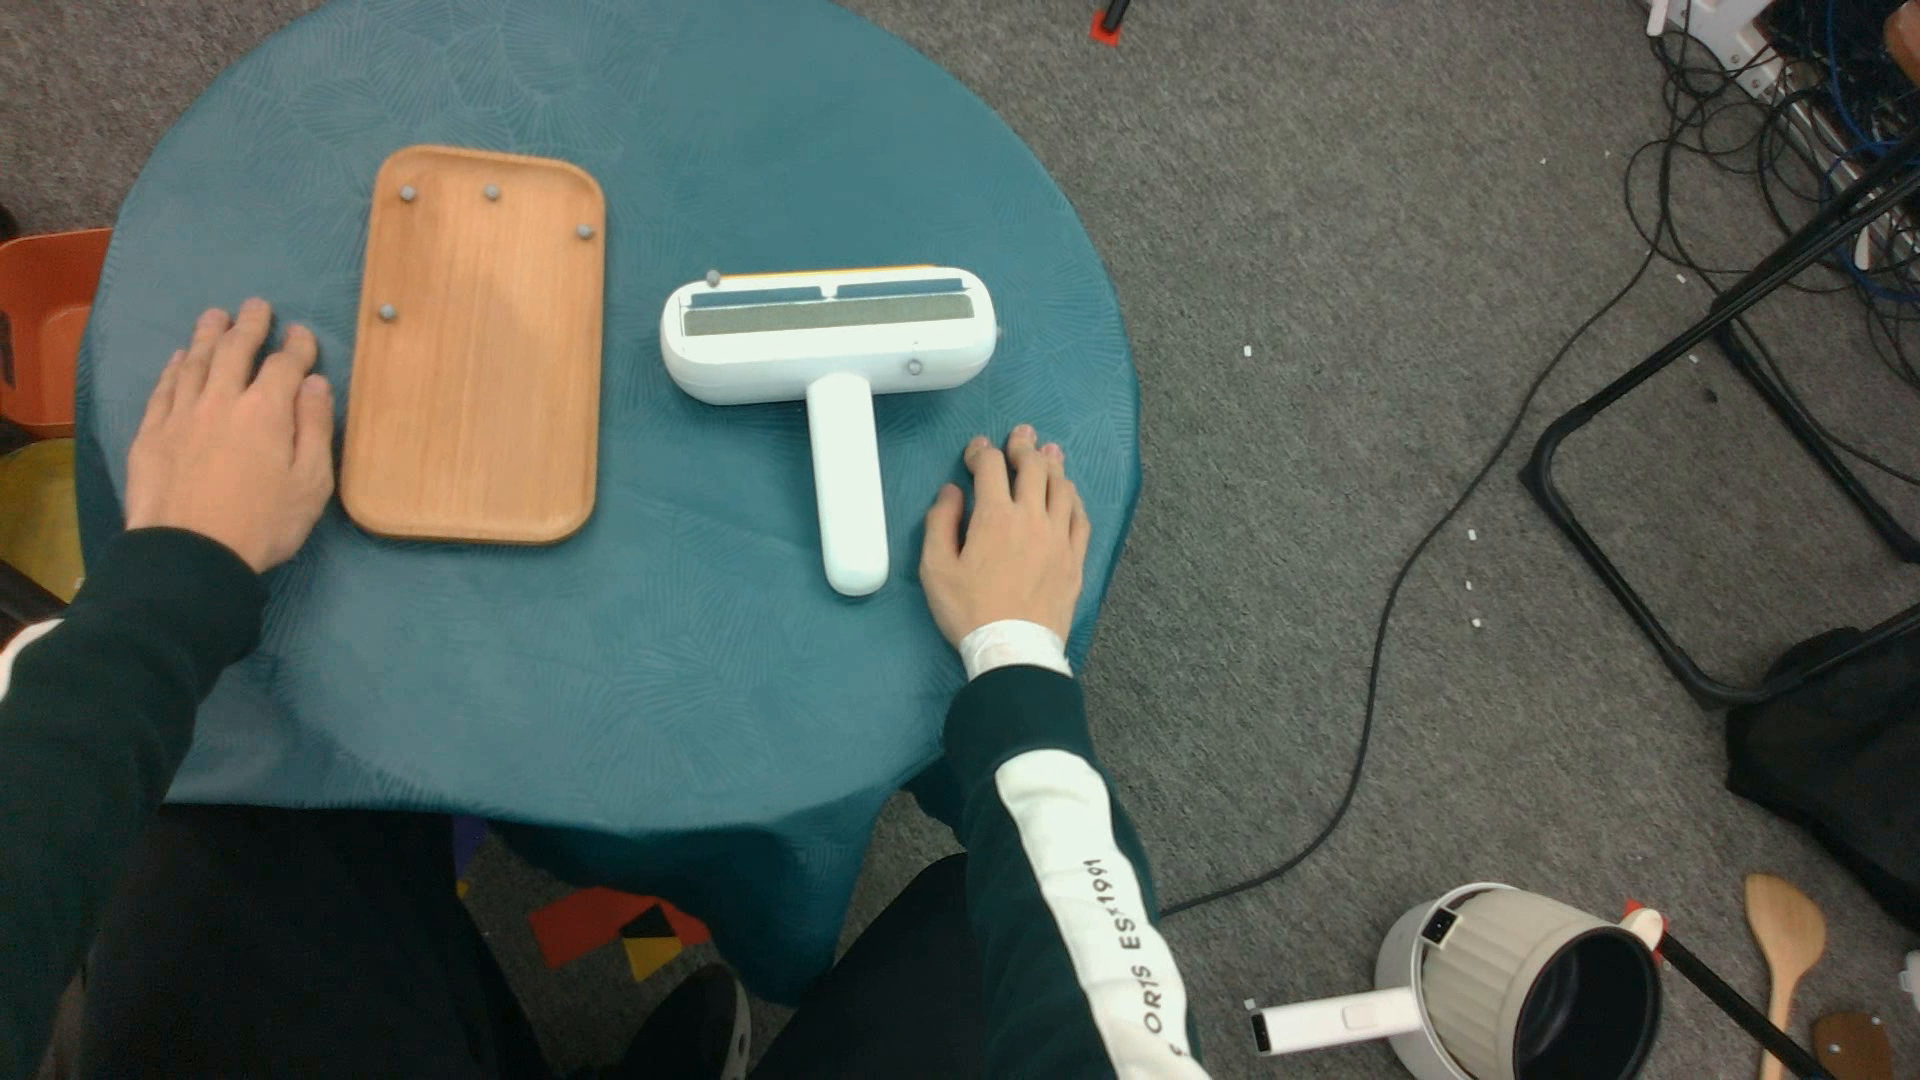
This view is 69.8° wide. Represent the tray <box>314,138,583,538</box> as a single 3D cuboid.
[{"bbox_3d":[-0.280,-0.117,0.771,0.131,0.023,0.251,2,66,-15],"label":"tray"}]

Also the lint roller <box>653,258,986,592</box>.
[{"bbox_3d":[-0.081,-0.067,0.804,0.193,0.074,0.192,0,81,-10],"label":"lint roller"}]
